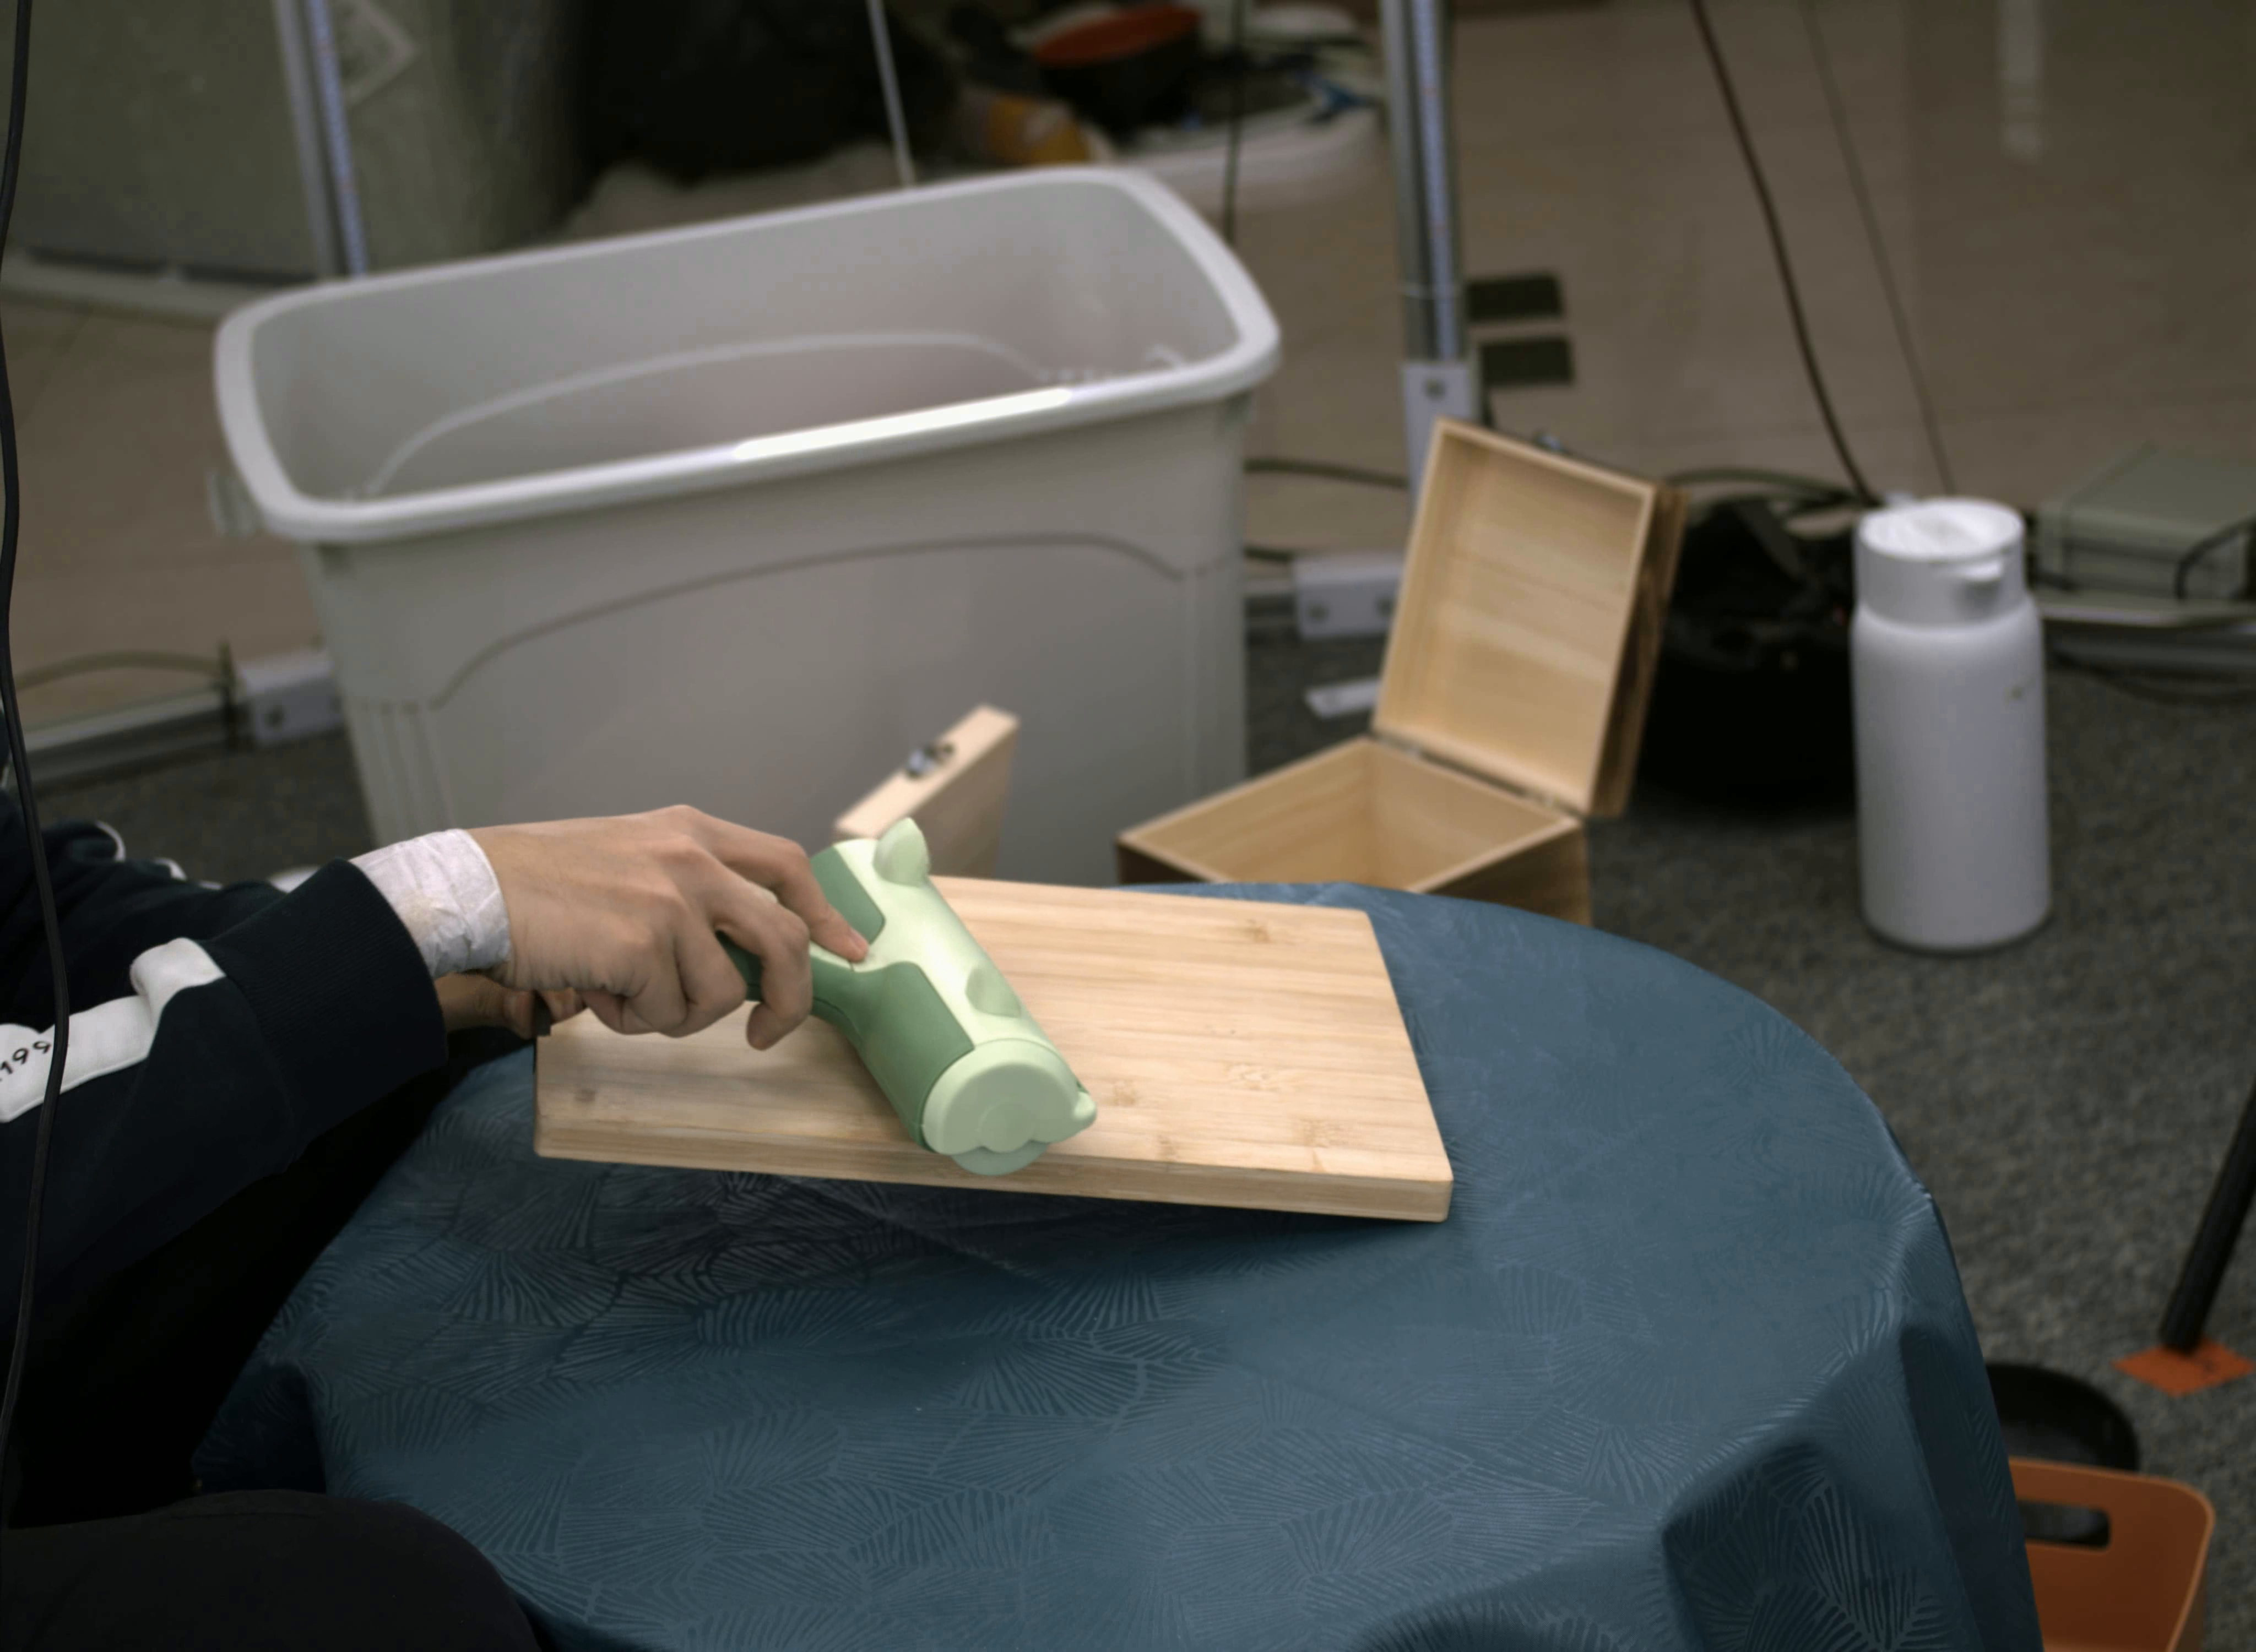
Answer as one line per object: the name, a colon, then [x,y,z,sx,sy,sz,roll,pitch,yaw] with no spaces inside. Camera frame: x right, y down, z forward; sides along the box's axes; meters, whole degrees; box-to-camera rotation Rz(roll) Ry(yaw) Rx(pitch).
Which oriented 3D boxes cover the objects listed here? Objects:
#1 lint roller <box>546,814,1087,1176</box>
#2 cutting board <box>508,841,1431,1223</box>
lint roller: [-0.119,0.040,2.073,0.184,0.083,0.196,22,15,-28]
cutting board: [-0.064,0.077,2.178,0.348,0.024,0.247,5,23,-9]
